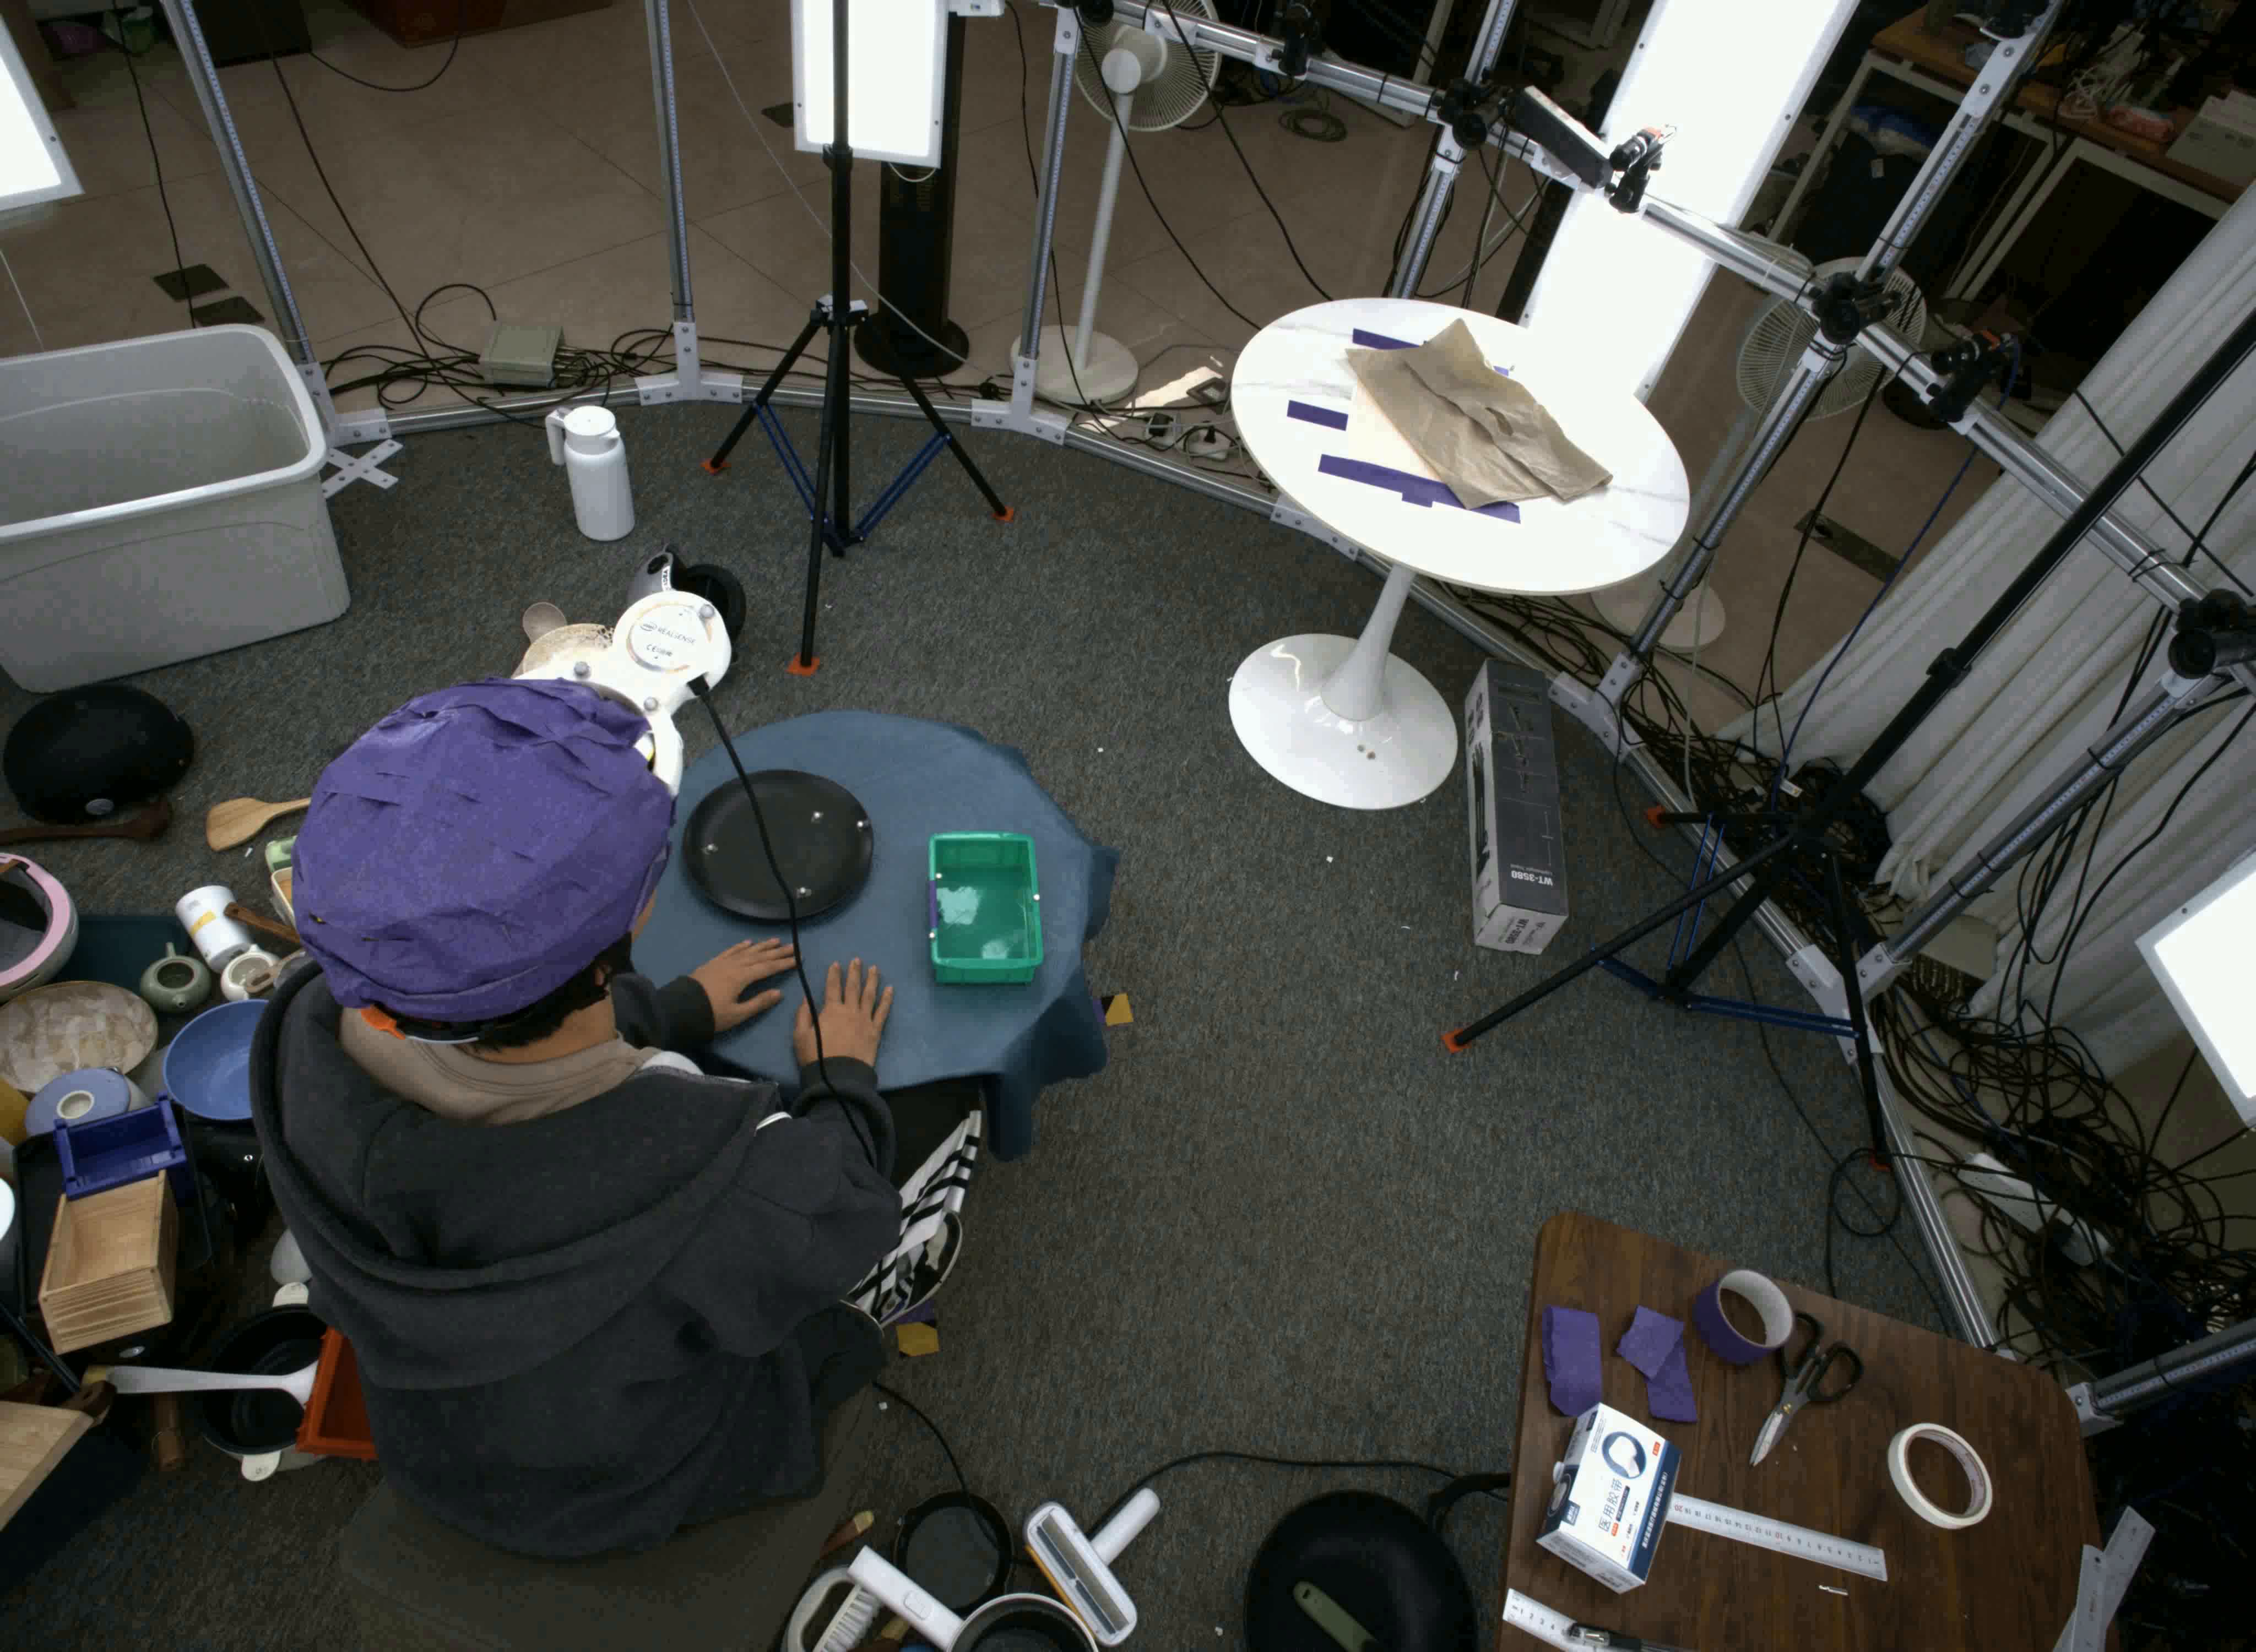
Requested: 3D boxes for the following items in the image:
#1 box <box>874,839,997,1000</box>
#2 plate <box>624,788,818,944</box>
[{"bbox_3d":[-0.246,0.119,1.645,0.139,0.066,0.206,-4,57,-14],"label":"box"},{"bbox_3d":[-0.520,0.051,1.651,0.244,0.024,0.240,8,52,-9],"label":"plate"}]
